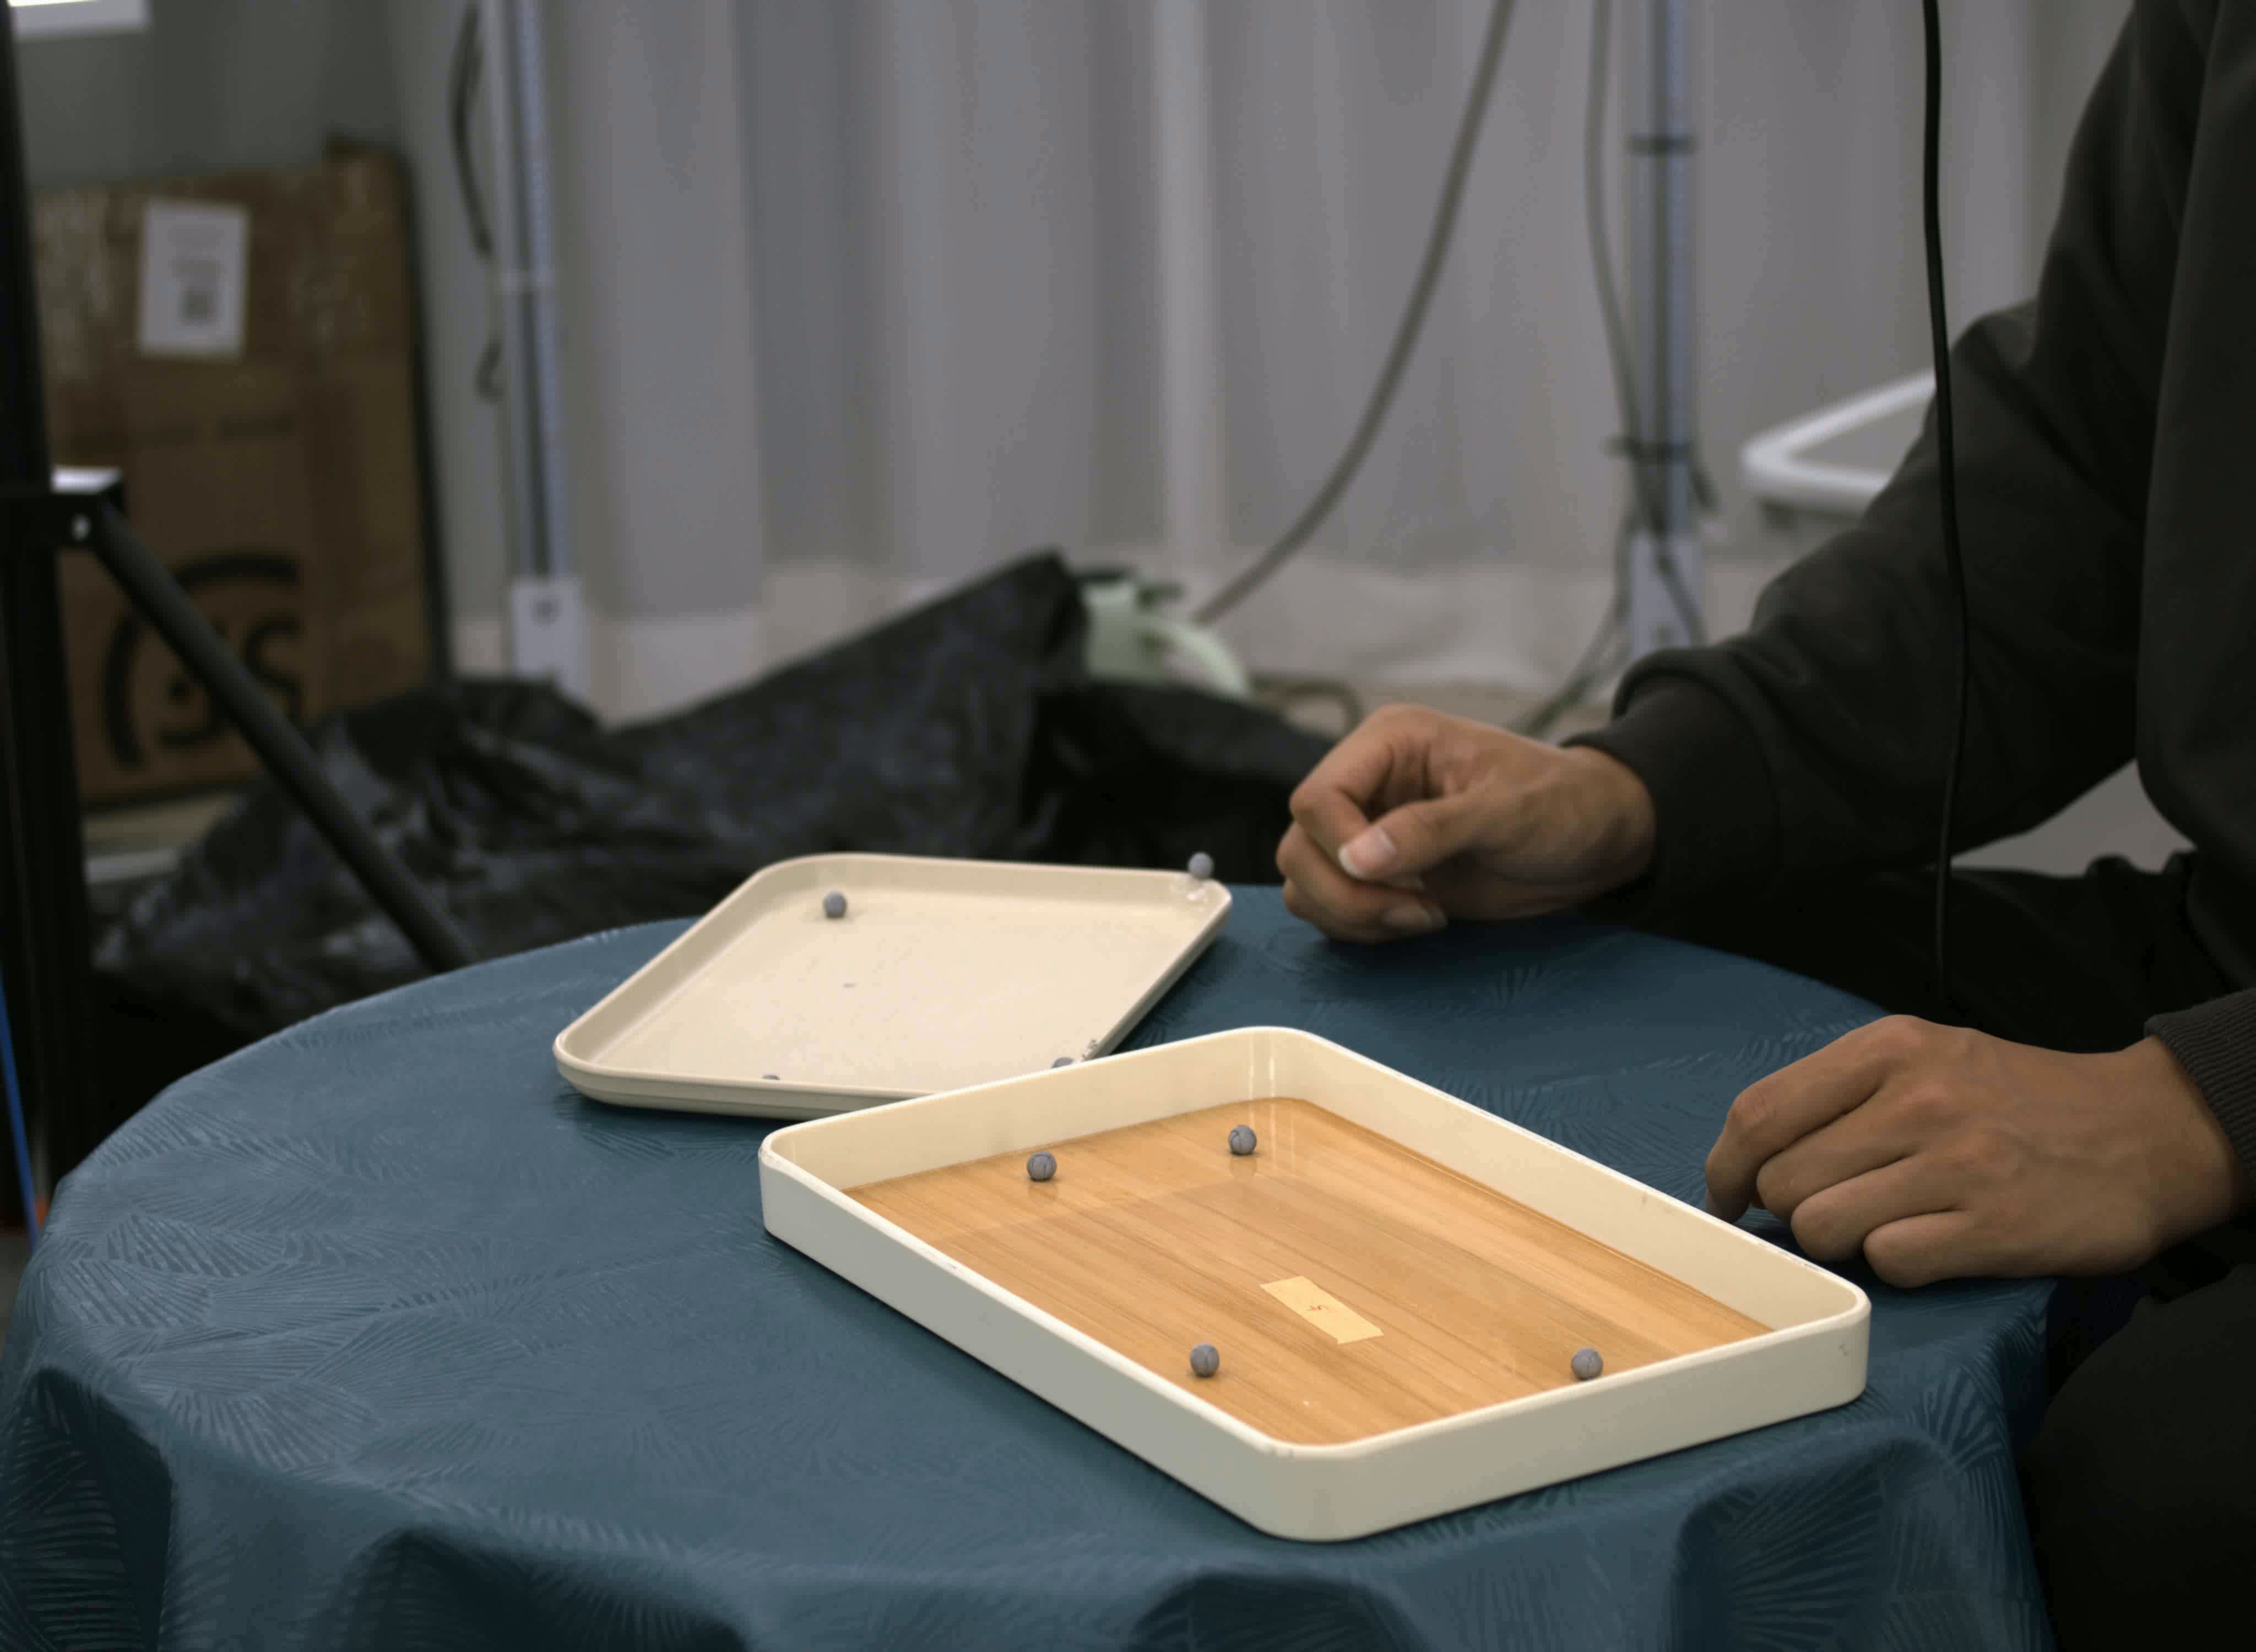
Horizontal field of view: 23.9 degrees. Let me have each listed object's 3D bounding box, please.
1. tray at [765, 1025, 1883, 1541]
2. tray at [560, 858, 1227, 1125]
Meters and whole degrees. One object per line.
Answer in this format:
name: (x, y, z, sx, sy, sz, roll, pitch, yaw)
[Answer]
tray: (0.047, 0.120, 1.463, 0.187, 0.027, 0.307, -11, 18, -29)
tray: (-0.072, 0.054, 1.731, 0.173, 0.017, 0.237, 2, 17, 17)
